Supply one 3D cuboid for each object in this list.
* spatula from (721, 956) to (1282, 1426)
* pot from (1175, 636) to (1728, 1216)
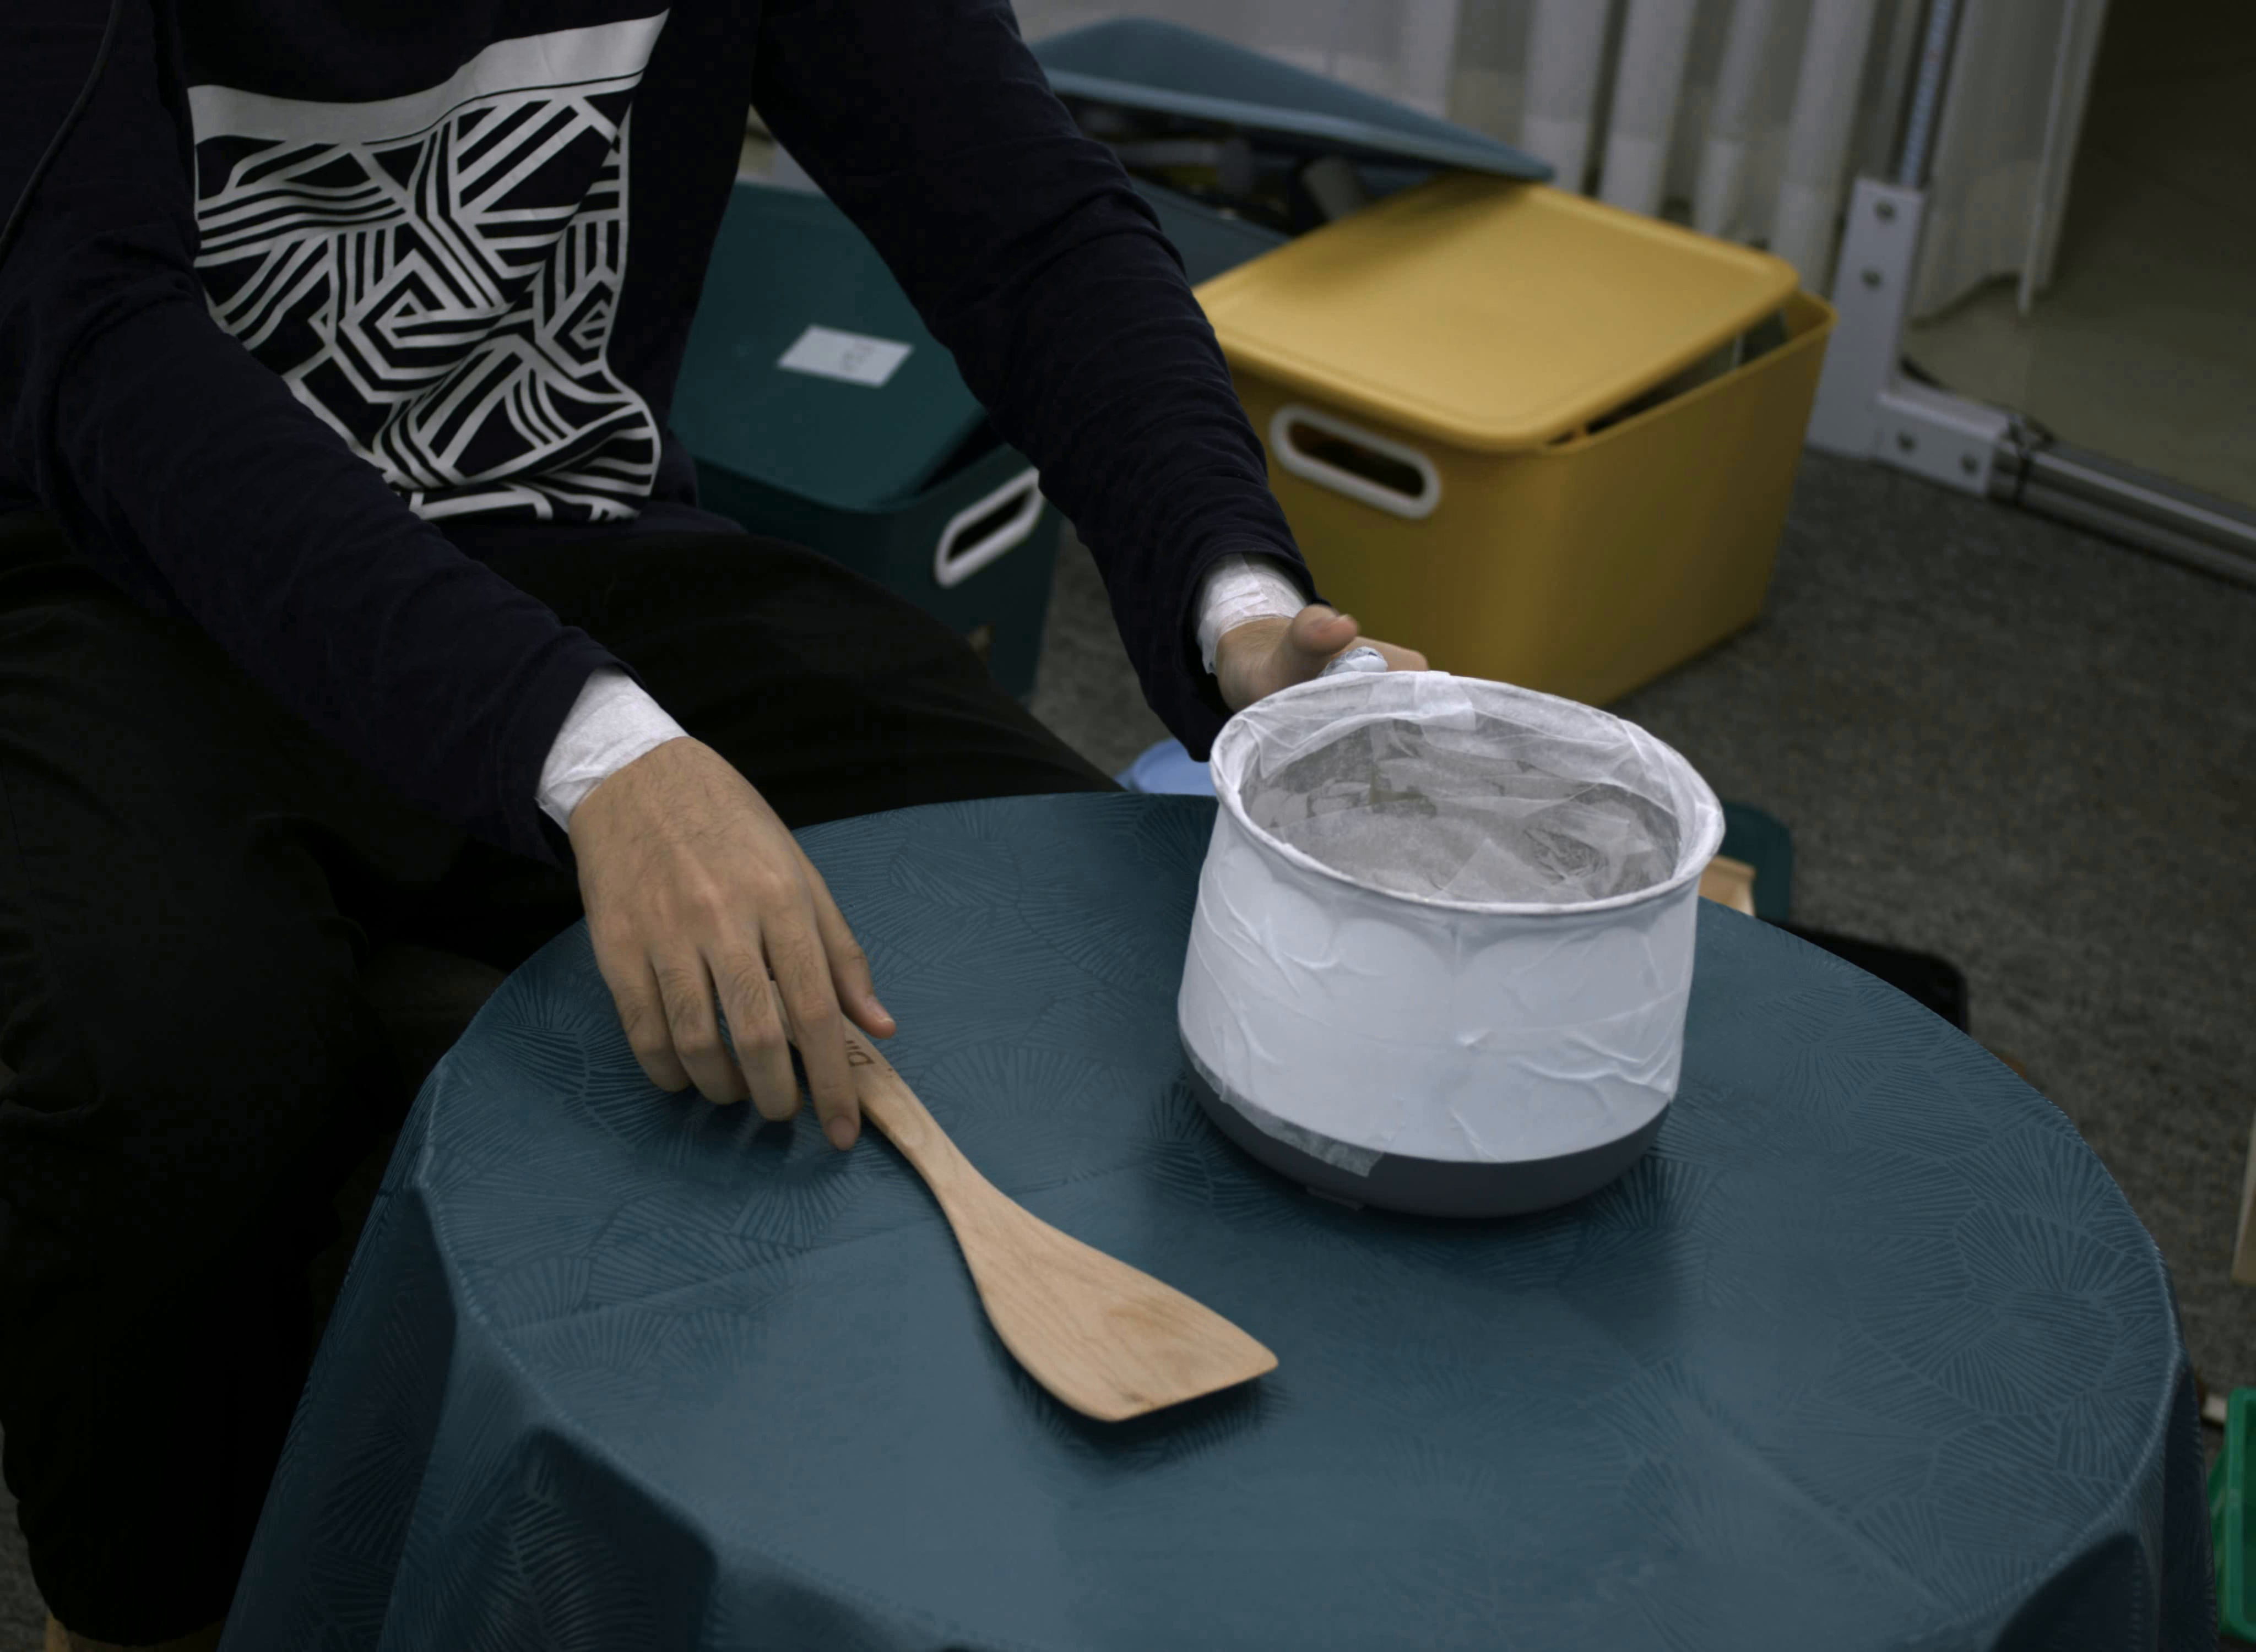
[{"bbox_3d":[-0.057,0.116,1.790,0.079,0.016,0.330,-10,31,-28],"label":"spatula"},{"bbox_3d":[0.099,0.028,1.860,0.177,0.136,0.236,-3,30,-21],"label":"pot"}]
